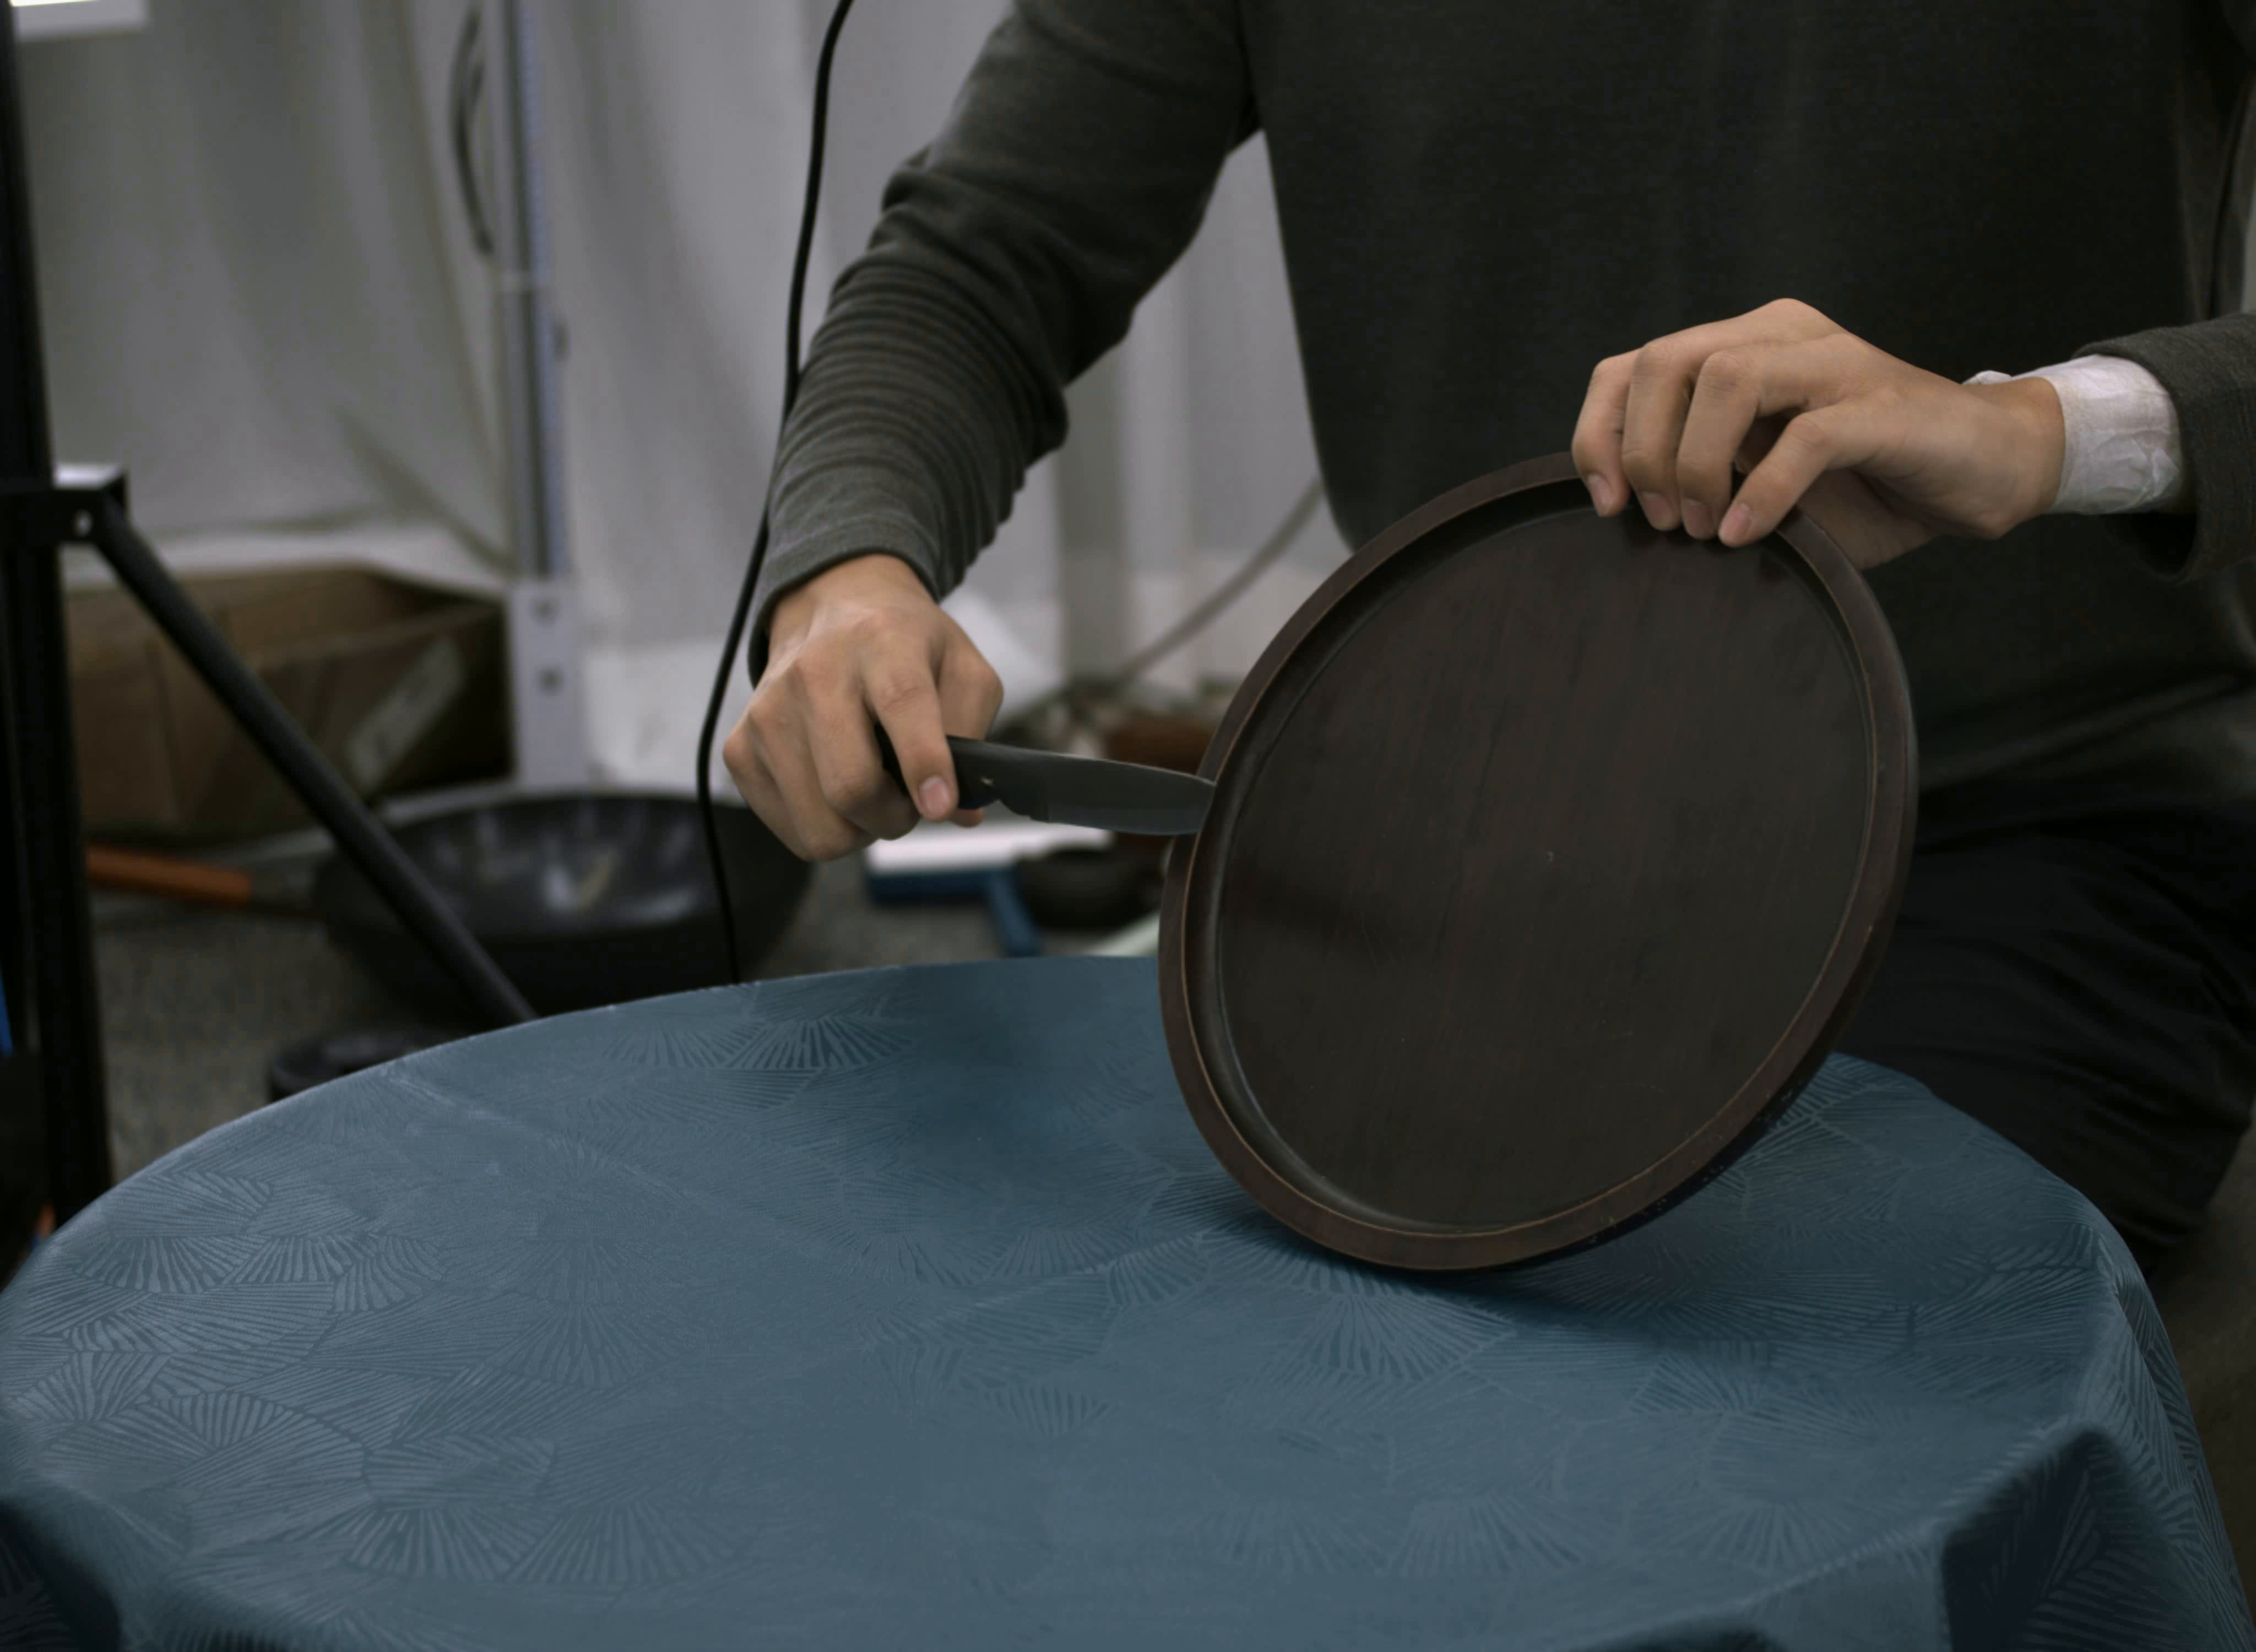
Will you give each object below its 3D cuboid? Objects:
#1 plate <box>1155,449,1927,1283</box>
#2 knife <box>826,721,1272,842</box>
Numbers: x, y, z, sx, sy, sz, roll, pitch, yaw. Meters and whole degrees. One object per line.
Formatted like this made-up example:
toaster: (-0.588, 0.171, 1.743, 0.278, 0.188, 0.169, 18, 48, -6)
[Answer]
plate: (0.116, 0.011, 1.514, 0.260, 0.255, 0.028, 13, -12, 43)
knife: (-0.026, -0.014, 1.615, 0.016, 0.024, 0.243, -4, 8, -33)
